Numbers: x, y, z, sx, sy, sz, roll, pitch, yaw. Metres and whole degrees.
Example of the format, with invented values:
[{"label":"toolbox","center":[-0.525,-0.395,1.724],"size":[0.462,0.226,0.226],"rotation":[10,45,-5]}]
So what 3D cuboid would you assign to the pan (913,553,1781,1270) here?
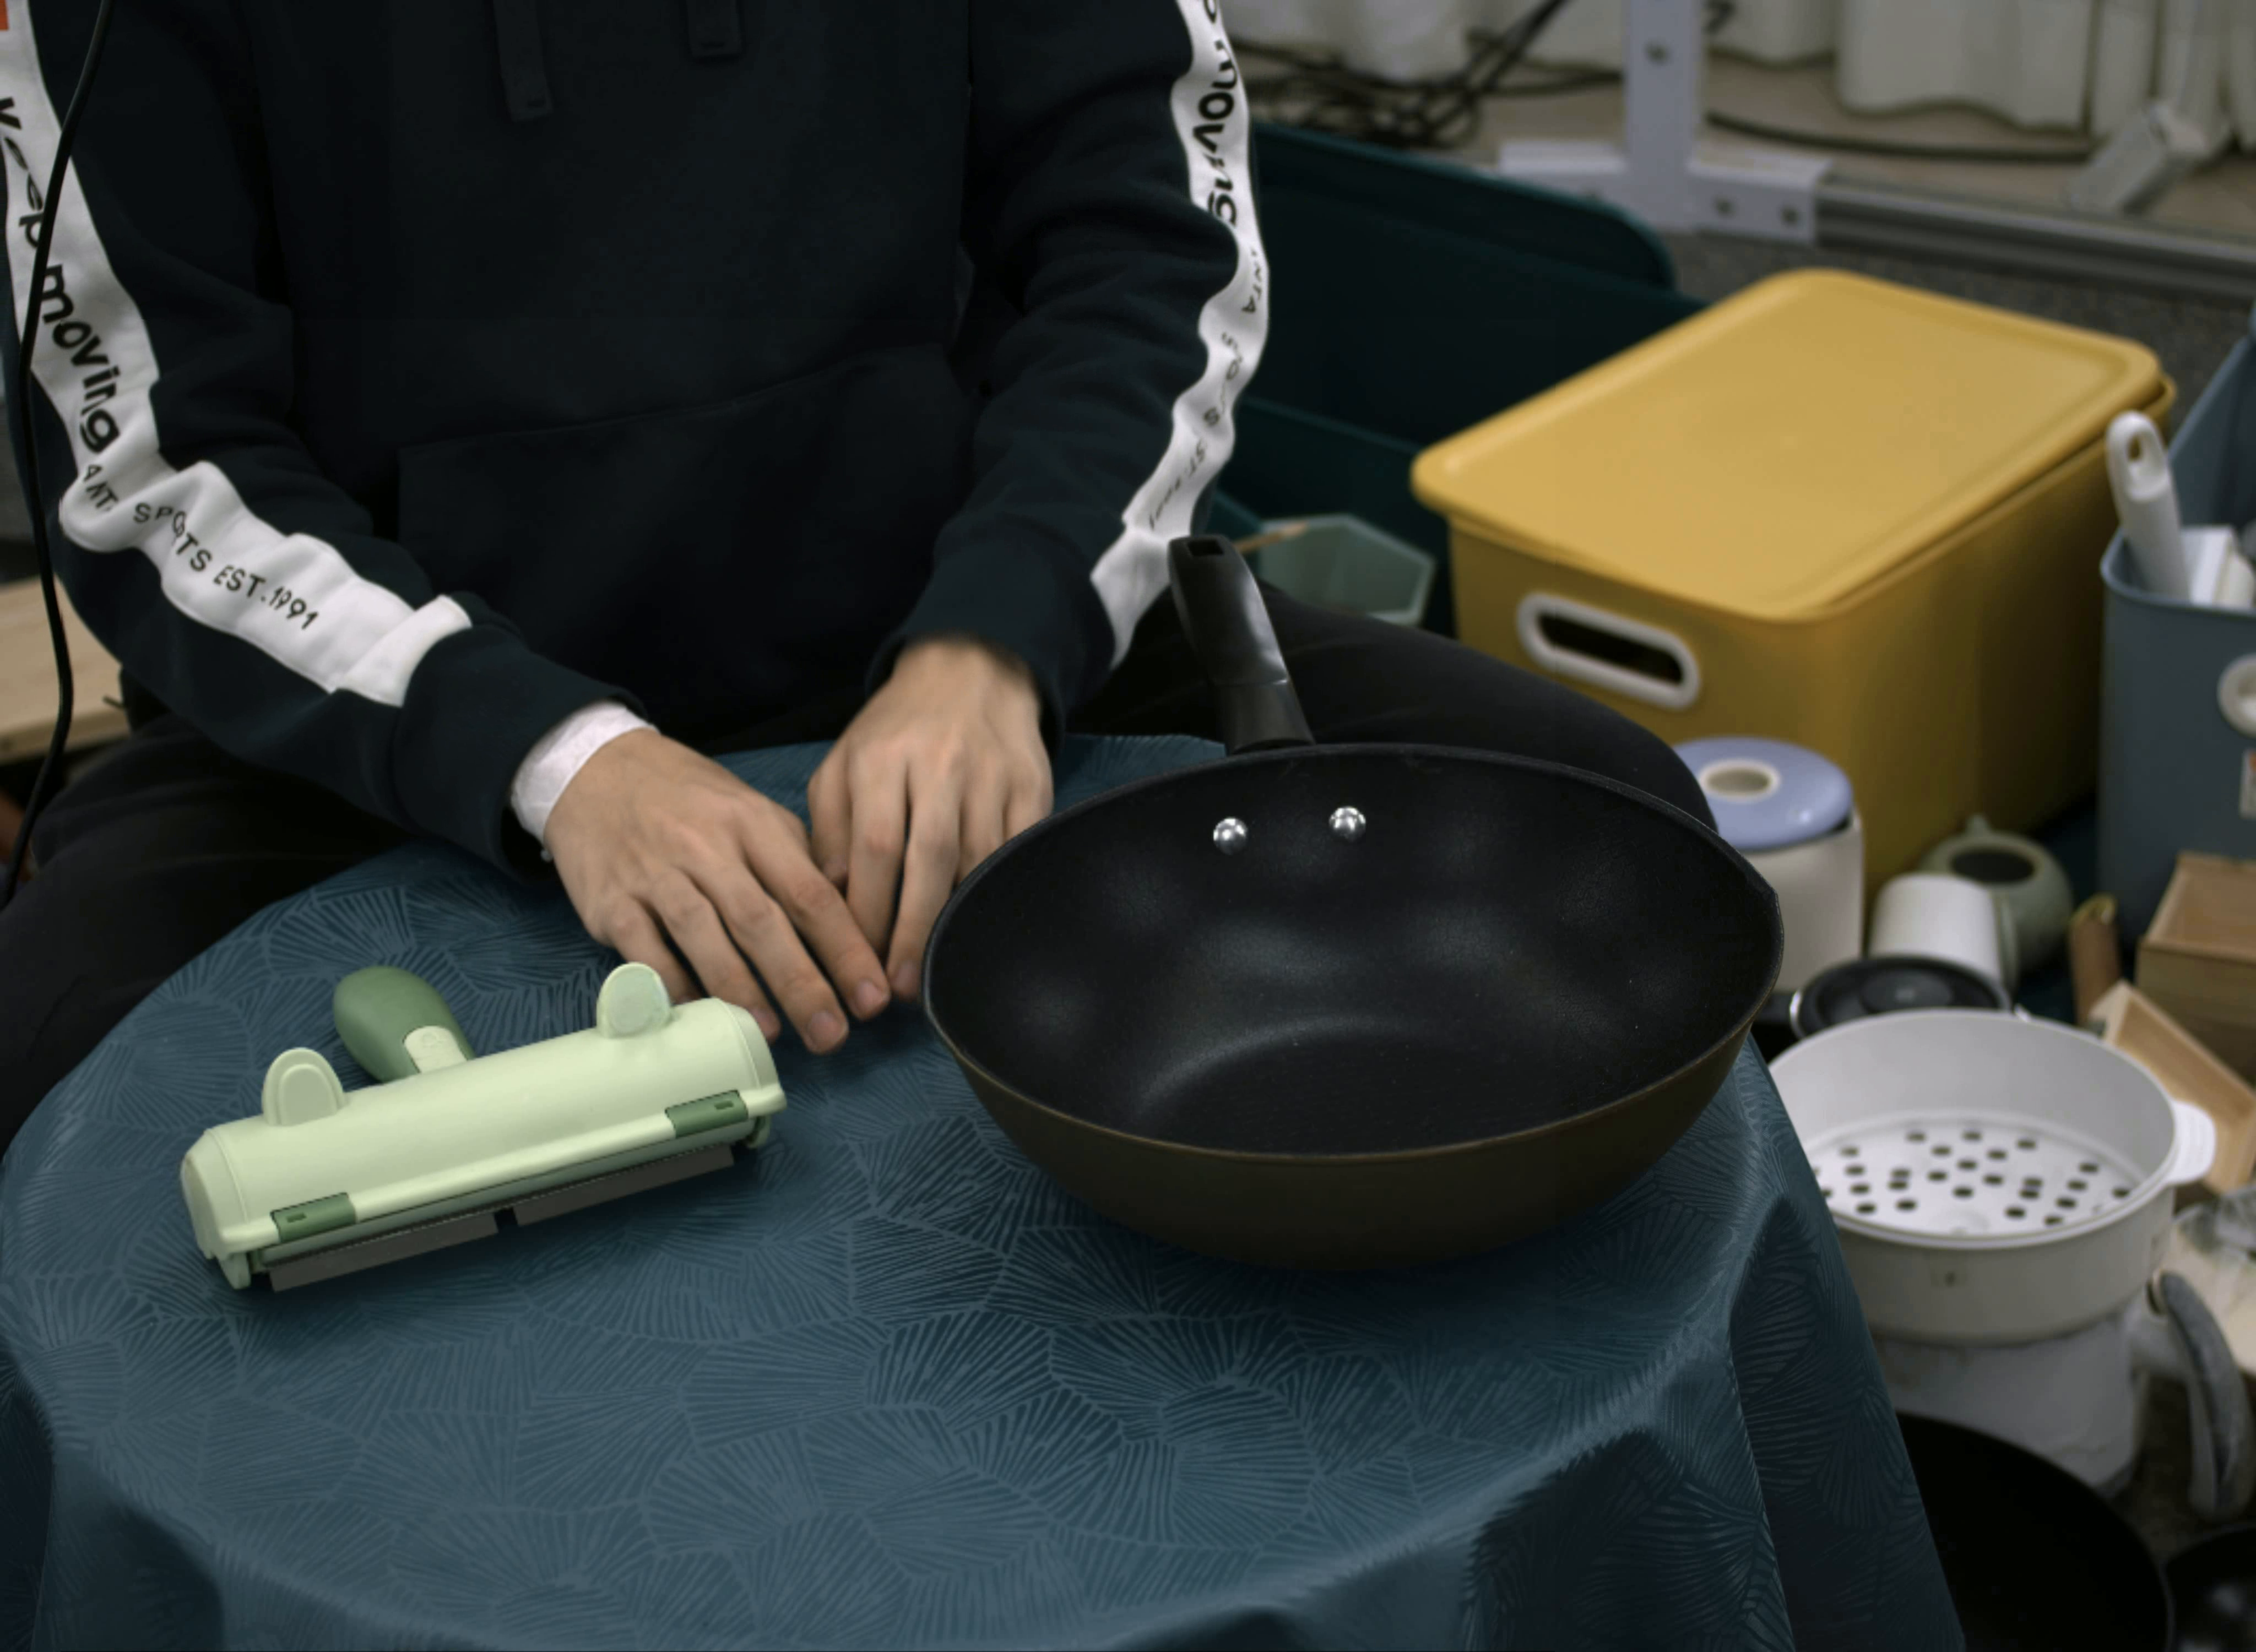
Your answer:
[{"label":"pan","center":[0.059,0.031,1.941],"size":[0.287,0.086,0.469],"rotation":[-6,26,-7]}]

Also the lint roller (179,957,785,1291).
[{"label":"lint roller","center":[-0.236,0.072,1.897],"size":[0.199,0.081,0.185],"rotation":[-14,35,-20]}]
